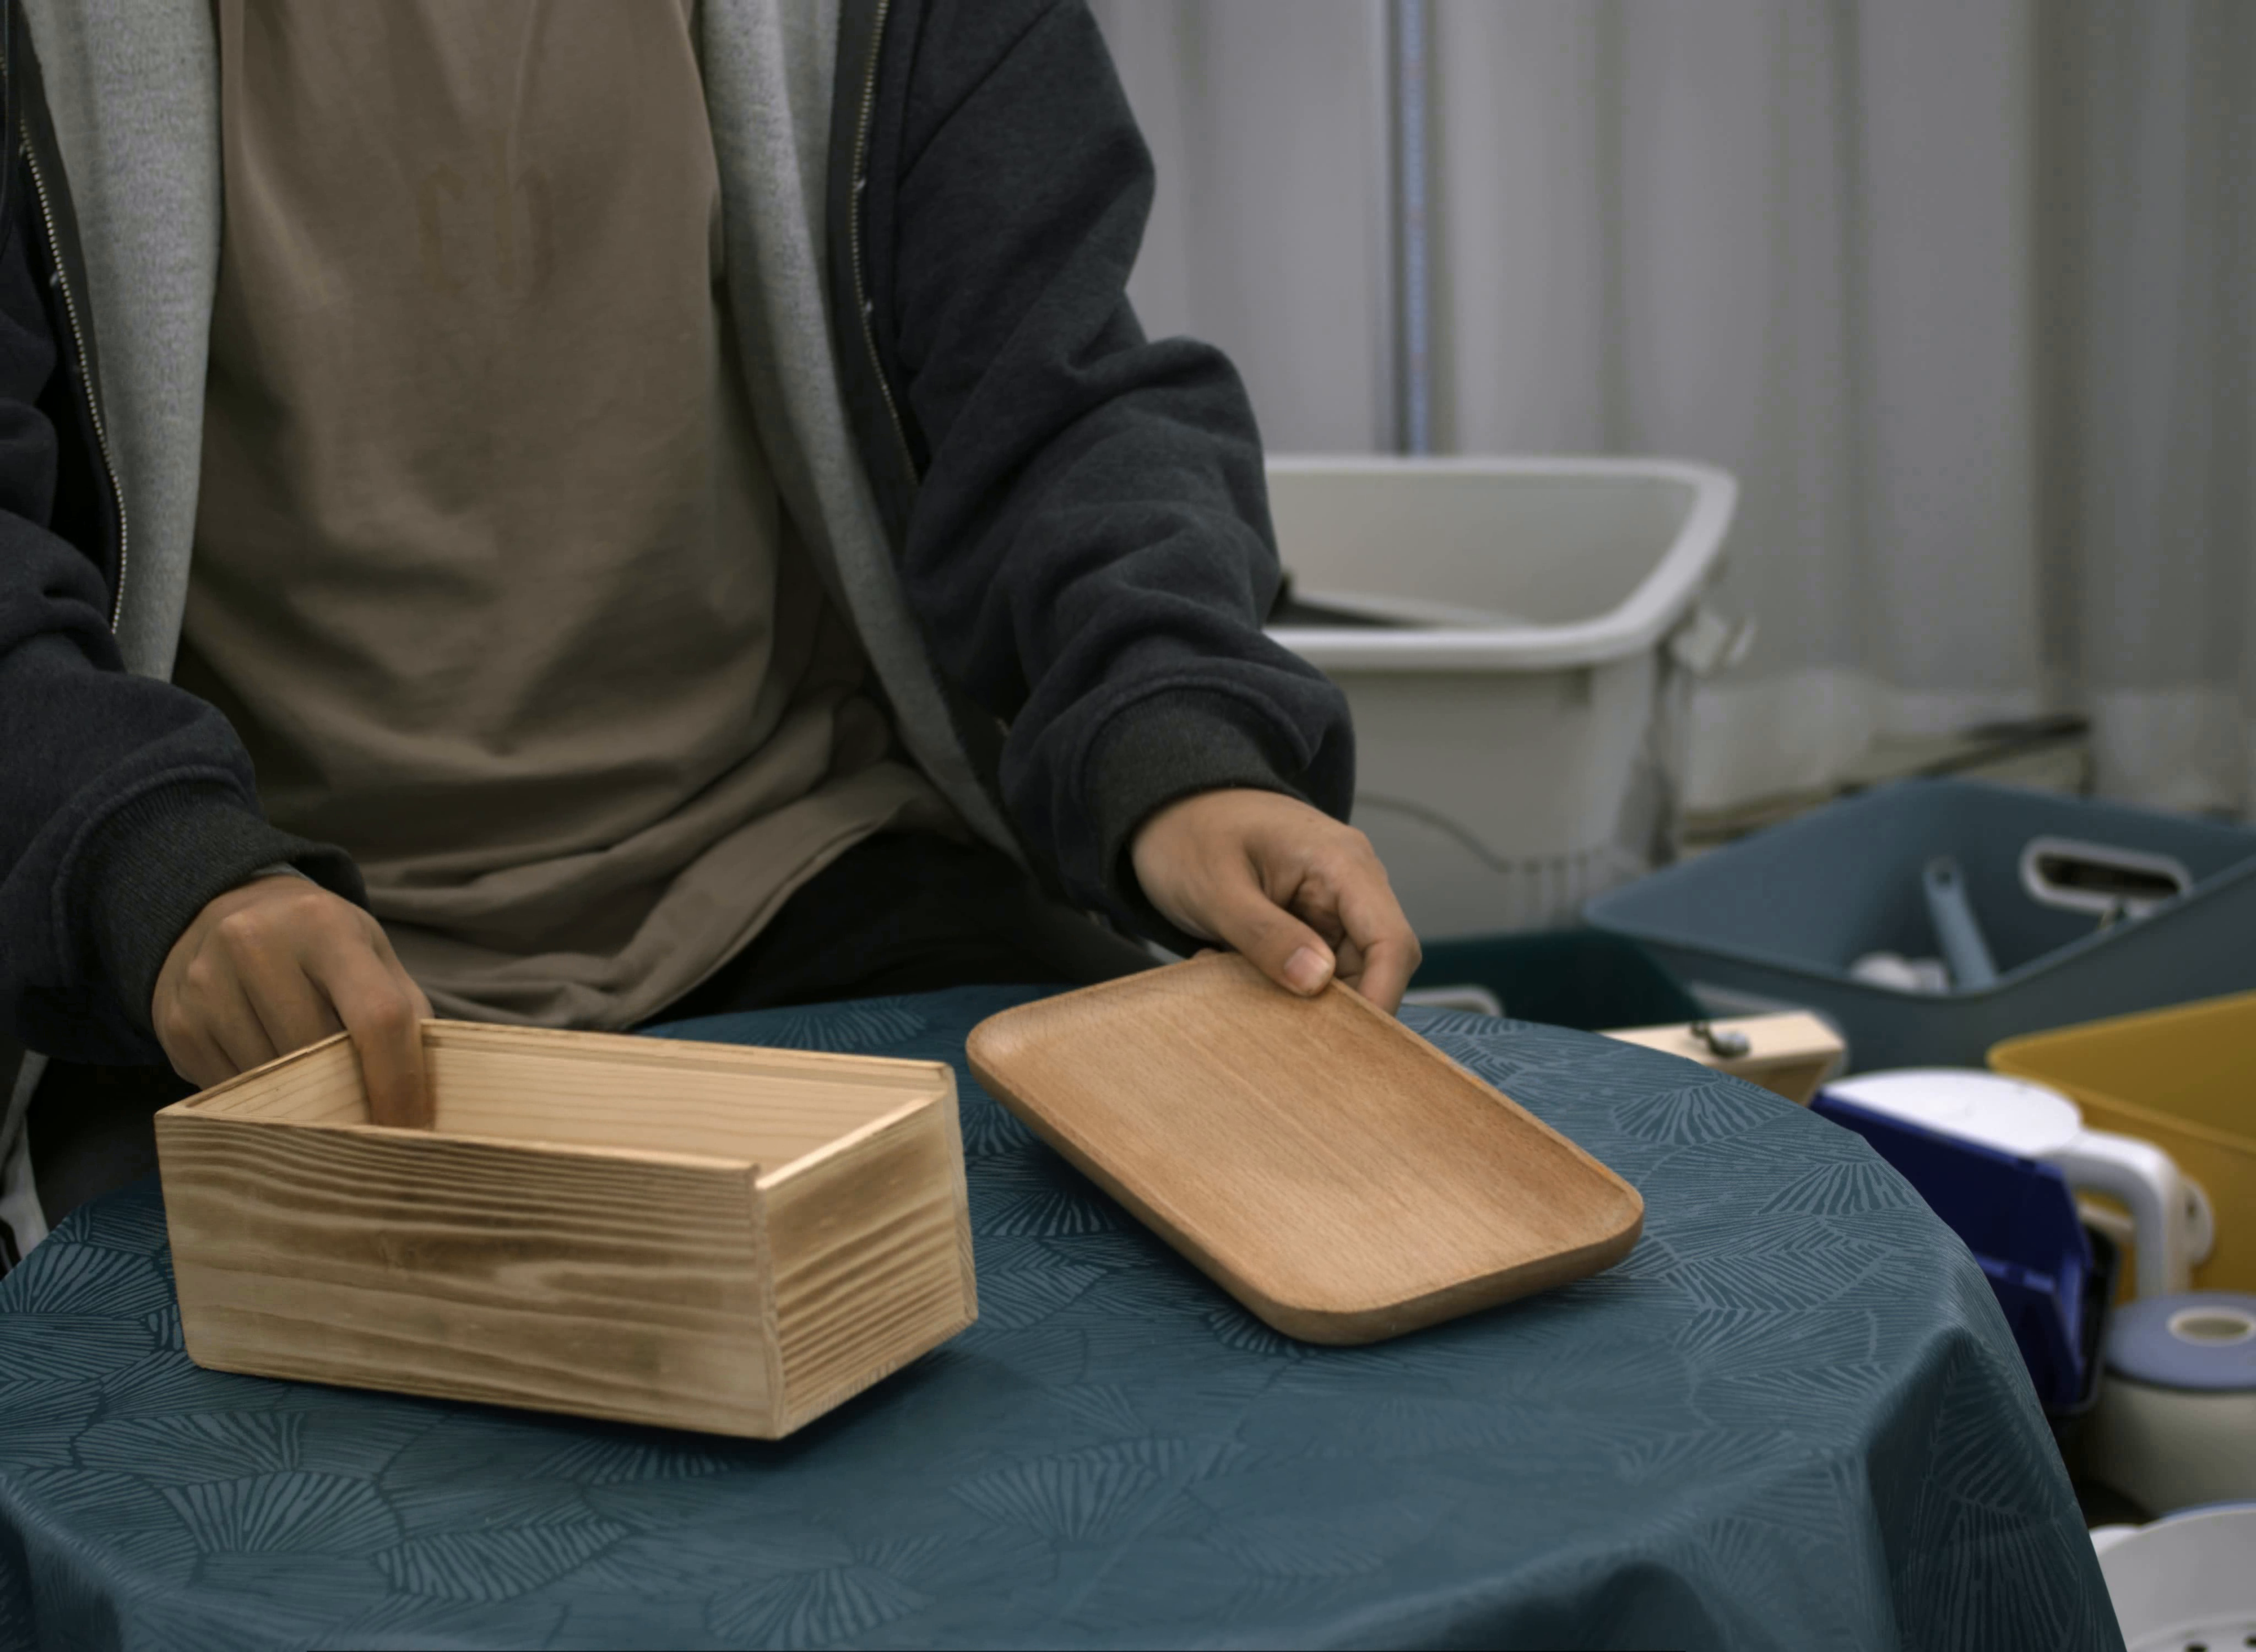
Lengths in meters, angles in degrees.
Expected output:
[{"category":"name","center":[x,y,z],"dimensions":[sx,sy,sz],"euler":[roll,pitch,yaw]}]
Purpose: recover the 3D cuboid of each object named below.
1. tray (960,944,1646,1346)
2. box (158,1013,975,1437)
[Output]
[{"category":"tray","center":[0.050,0.095,1.684],"dimensions":[0.130,0.023,0.253],"euler":[-11,23,-24]},{"category":"box","center":[-0.163,0.113,1.584],"dimensions":[0.212,0.080,0.107],"euler":[3,15,32]}]
